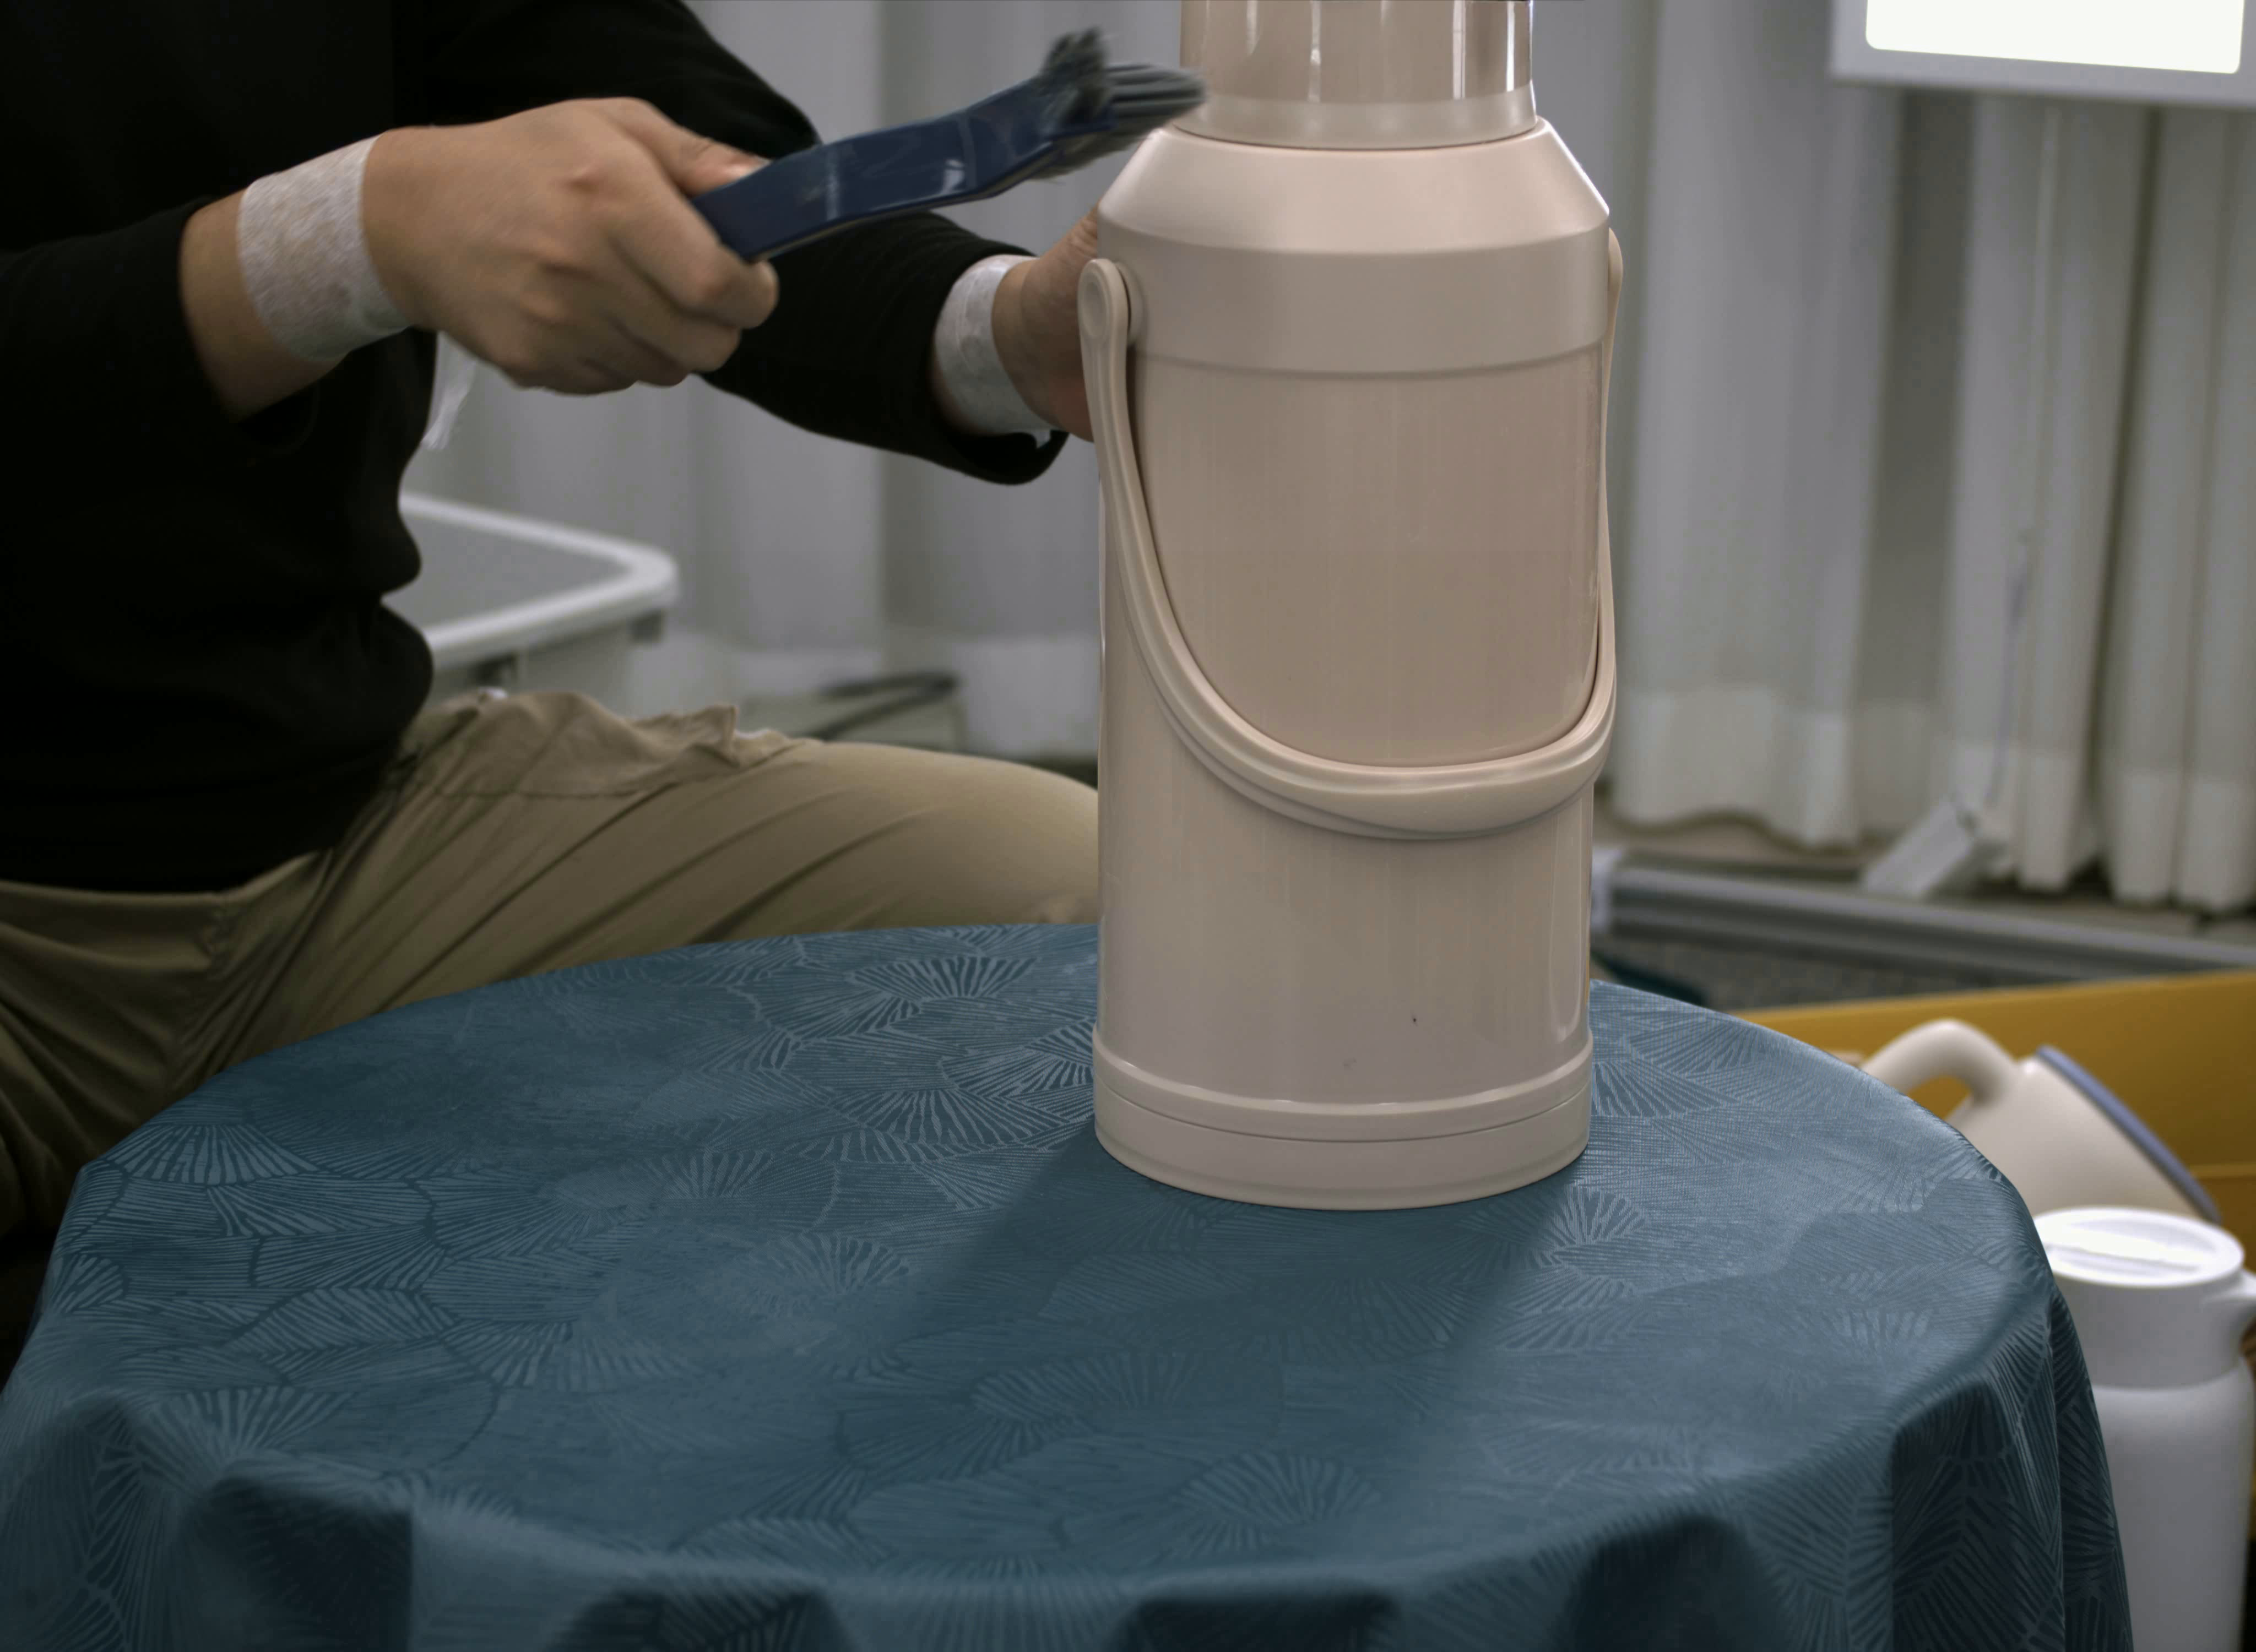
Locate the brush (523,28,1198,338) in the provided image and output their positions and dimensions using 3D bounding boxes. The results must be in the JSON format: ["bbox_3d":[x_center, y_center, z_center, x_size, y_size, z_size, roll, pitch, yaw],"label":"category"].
[{"bbox_3d":[-0.097,-0.191,1.554,0.271,0.033,0.096,-12,-7,35],"label":"brush"}]

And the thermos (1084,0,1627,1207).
[{"bbox_3d":[0.066,-0.099,1.638,0.176,0.410,0.204,-9,19,-25],"label":"thermos"}]
